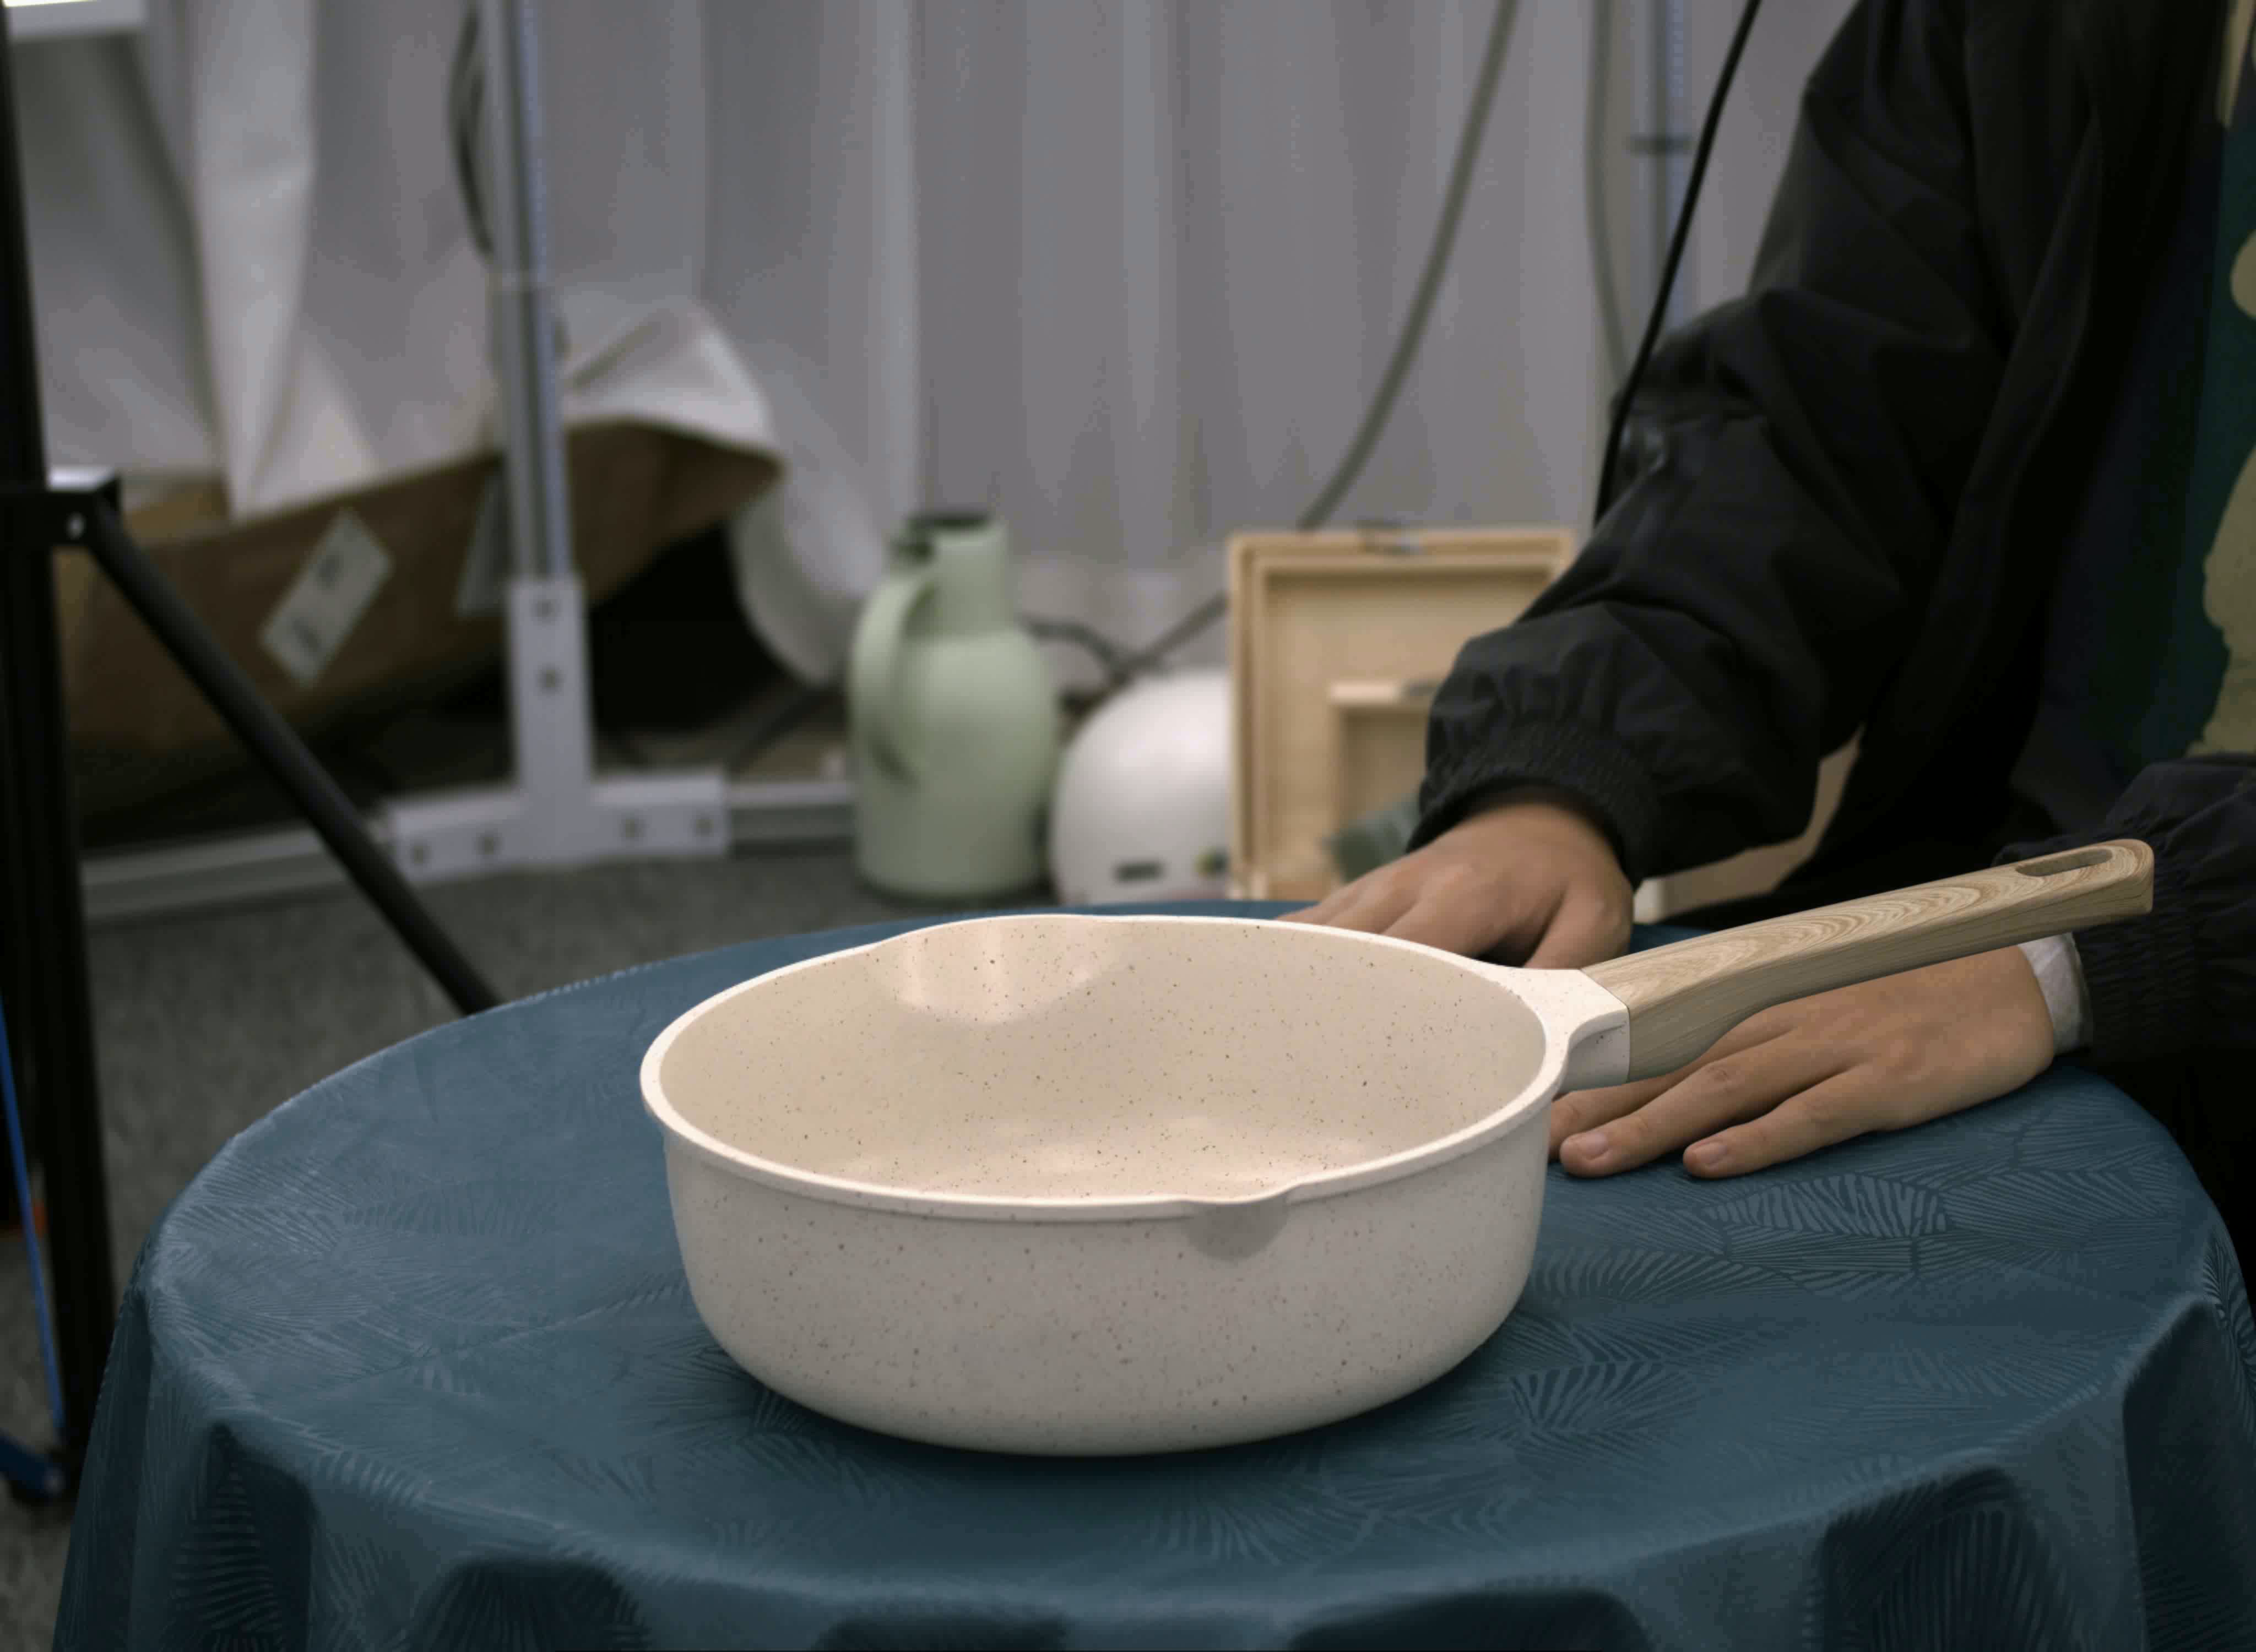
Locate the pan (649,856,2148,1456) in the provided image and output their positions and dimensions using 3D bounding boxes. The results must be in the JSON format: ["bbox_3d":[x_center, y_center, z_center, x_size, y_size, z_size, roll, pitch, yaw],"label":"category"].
[{"bbox_3d":[0.085,0.082,1.457,0.428,0.102,0.267,-6,15,-14],"label":"pan"}]

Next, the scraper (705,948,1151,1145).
[{"bbox_3d":[-0.051,0.069,1.692,0.077,0.011,0.207,8,18,28],"label":"scraper"}]
